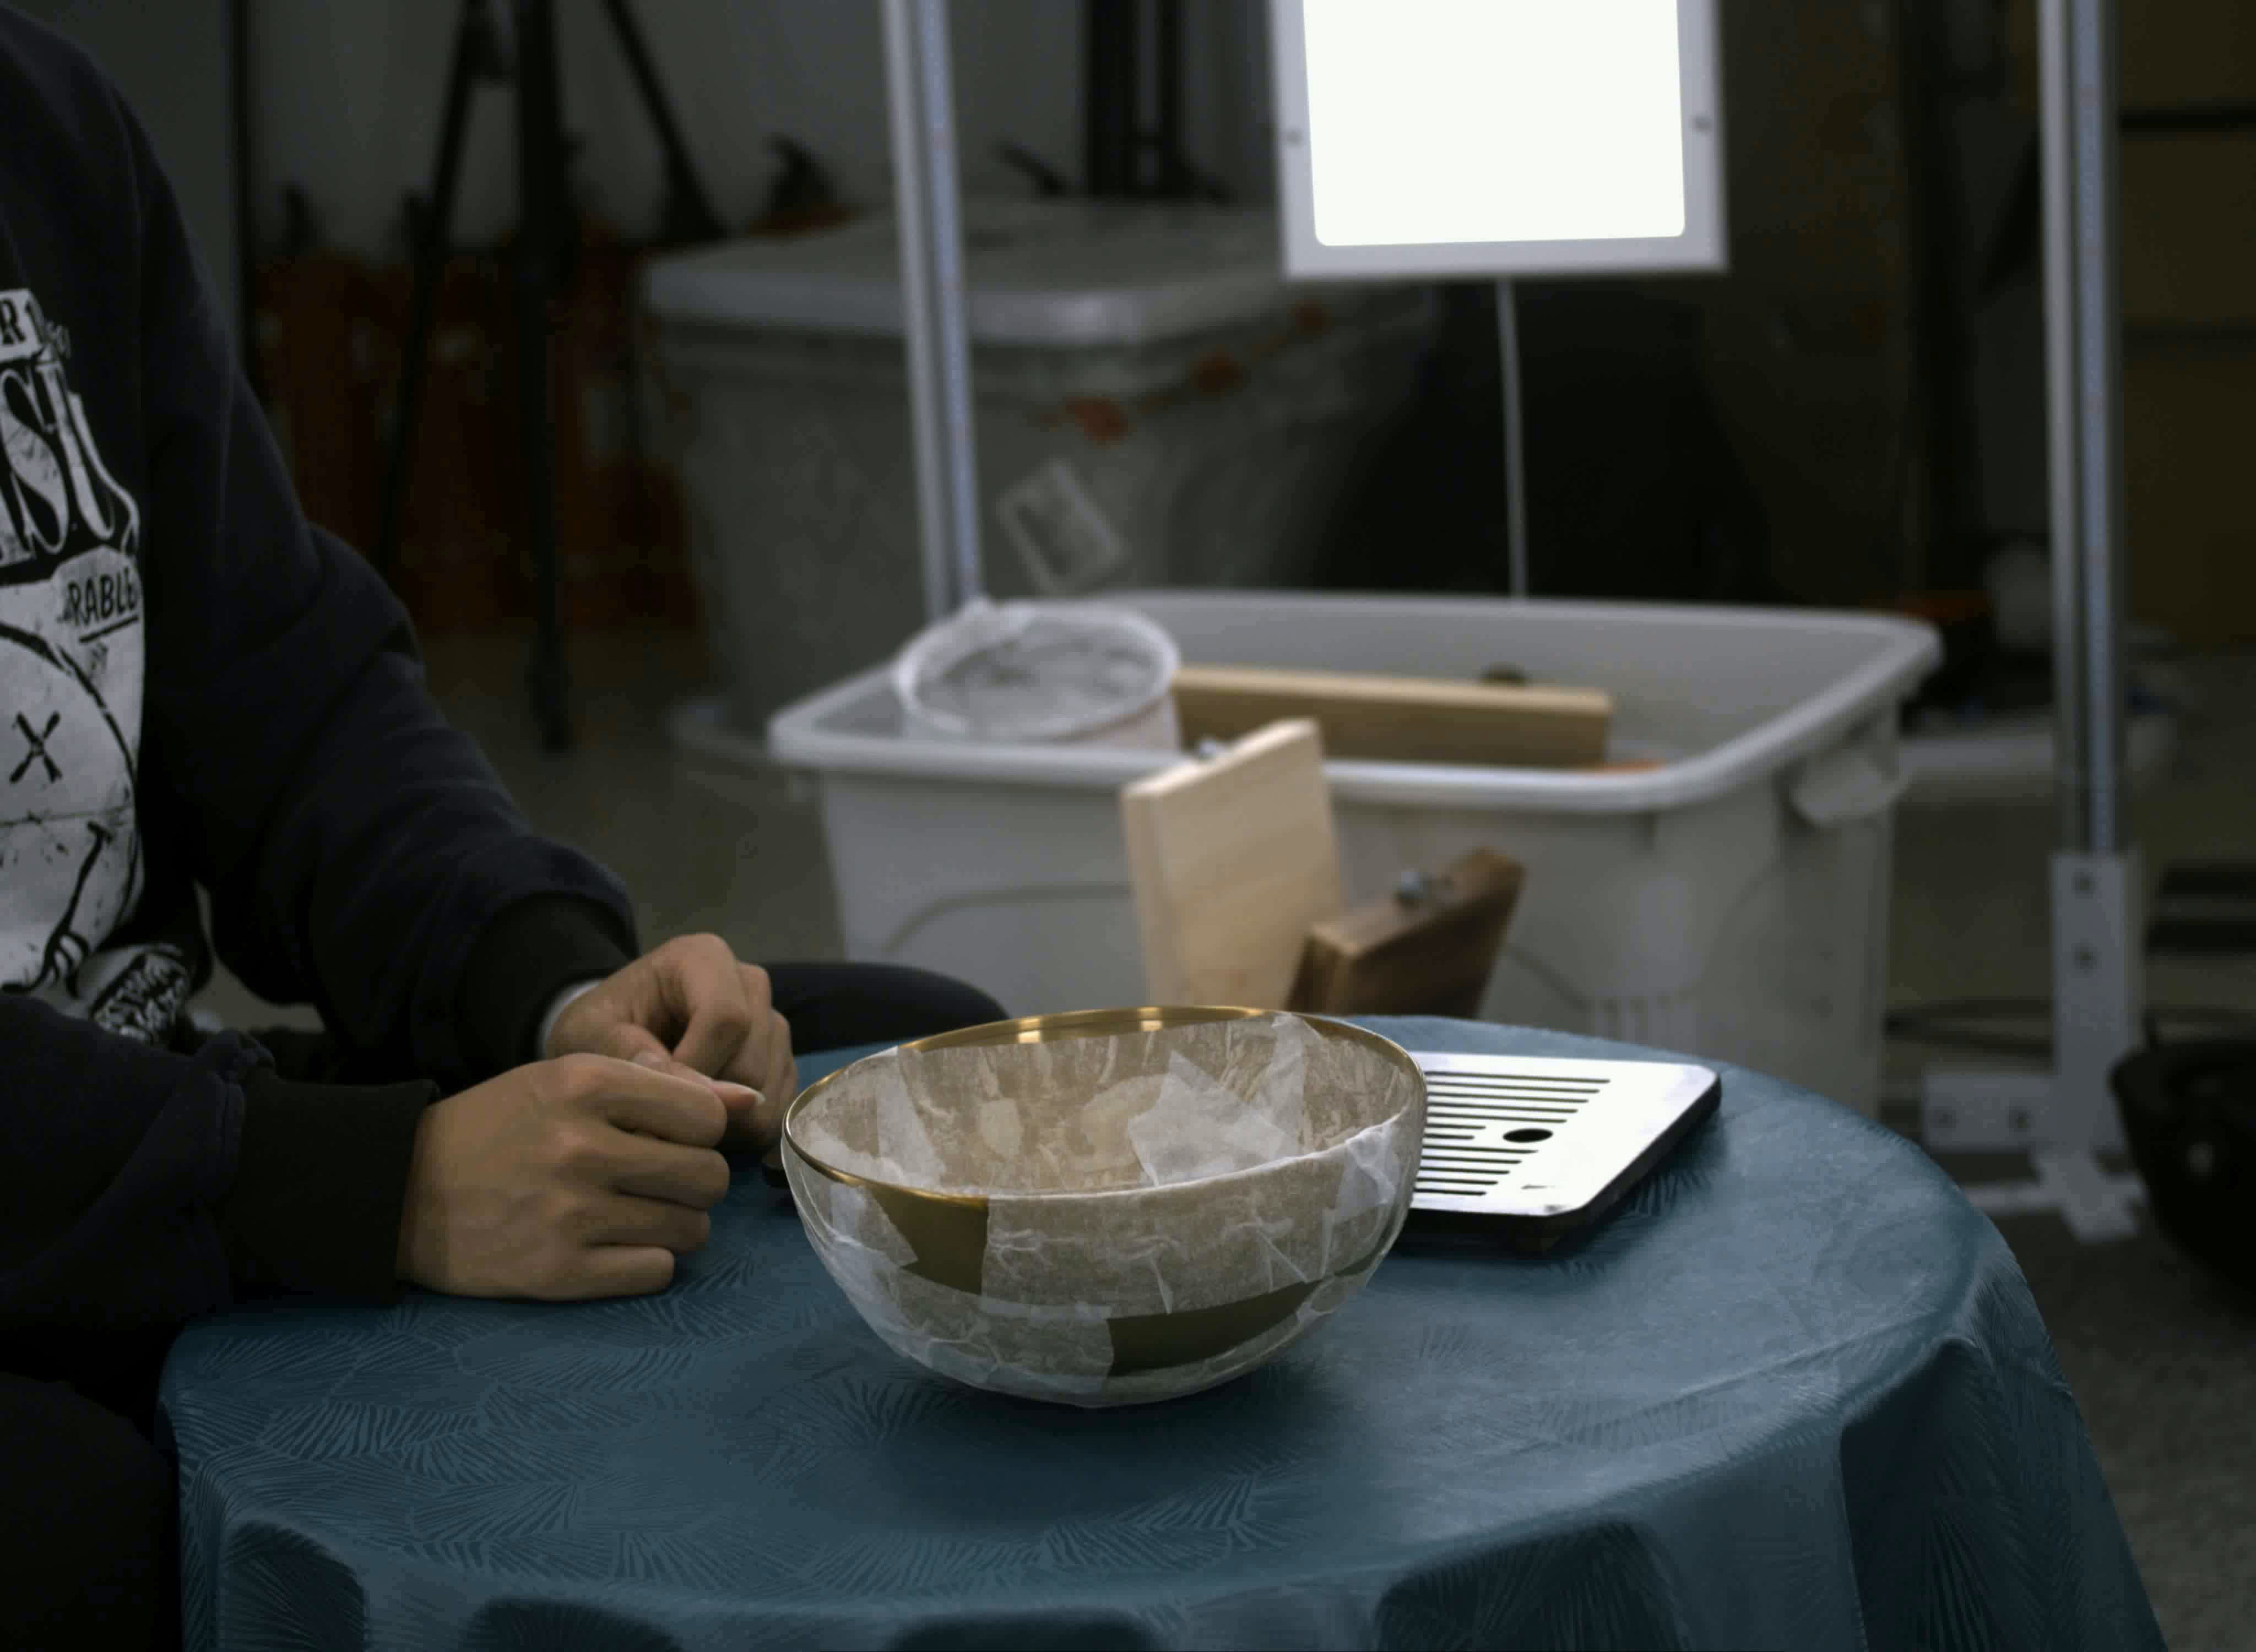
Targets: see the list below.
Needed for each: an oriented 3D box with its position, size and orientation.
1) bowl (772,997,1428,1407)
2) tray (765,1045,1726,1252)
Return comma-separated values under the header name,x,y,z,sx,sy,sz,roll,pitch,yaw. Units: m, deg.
name,x,y,z,sx,sy,sz,roll,pitch,yaw
bowl,-0.005,0.124,1.714,0.214,0.095,0.214,-6,15,0
tray,0.042,0.108,1.919,0.311,0.019,0.166,1,15,26
